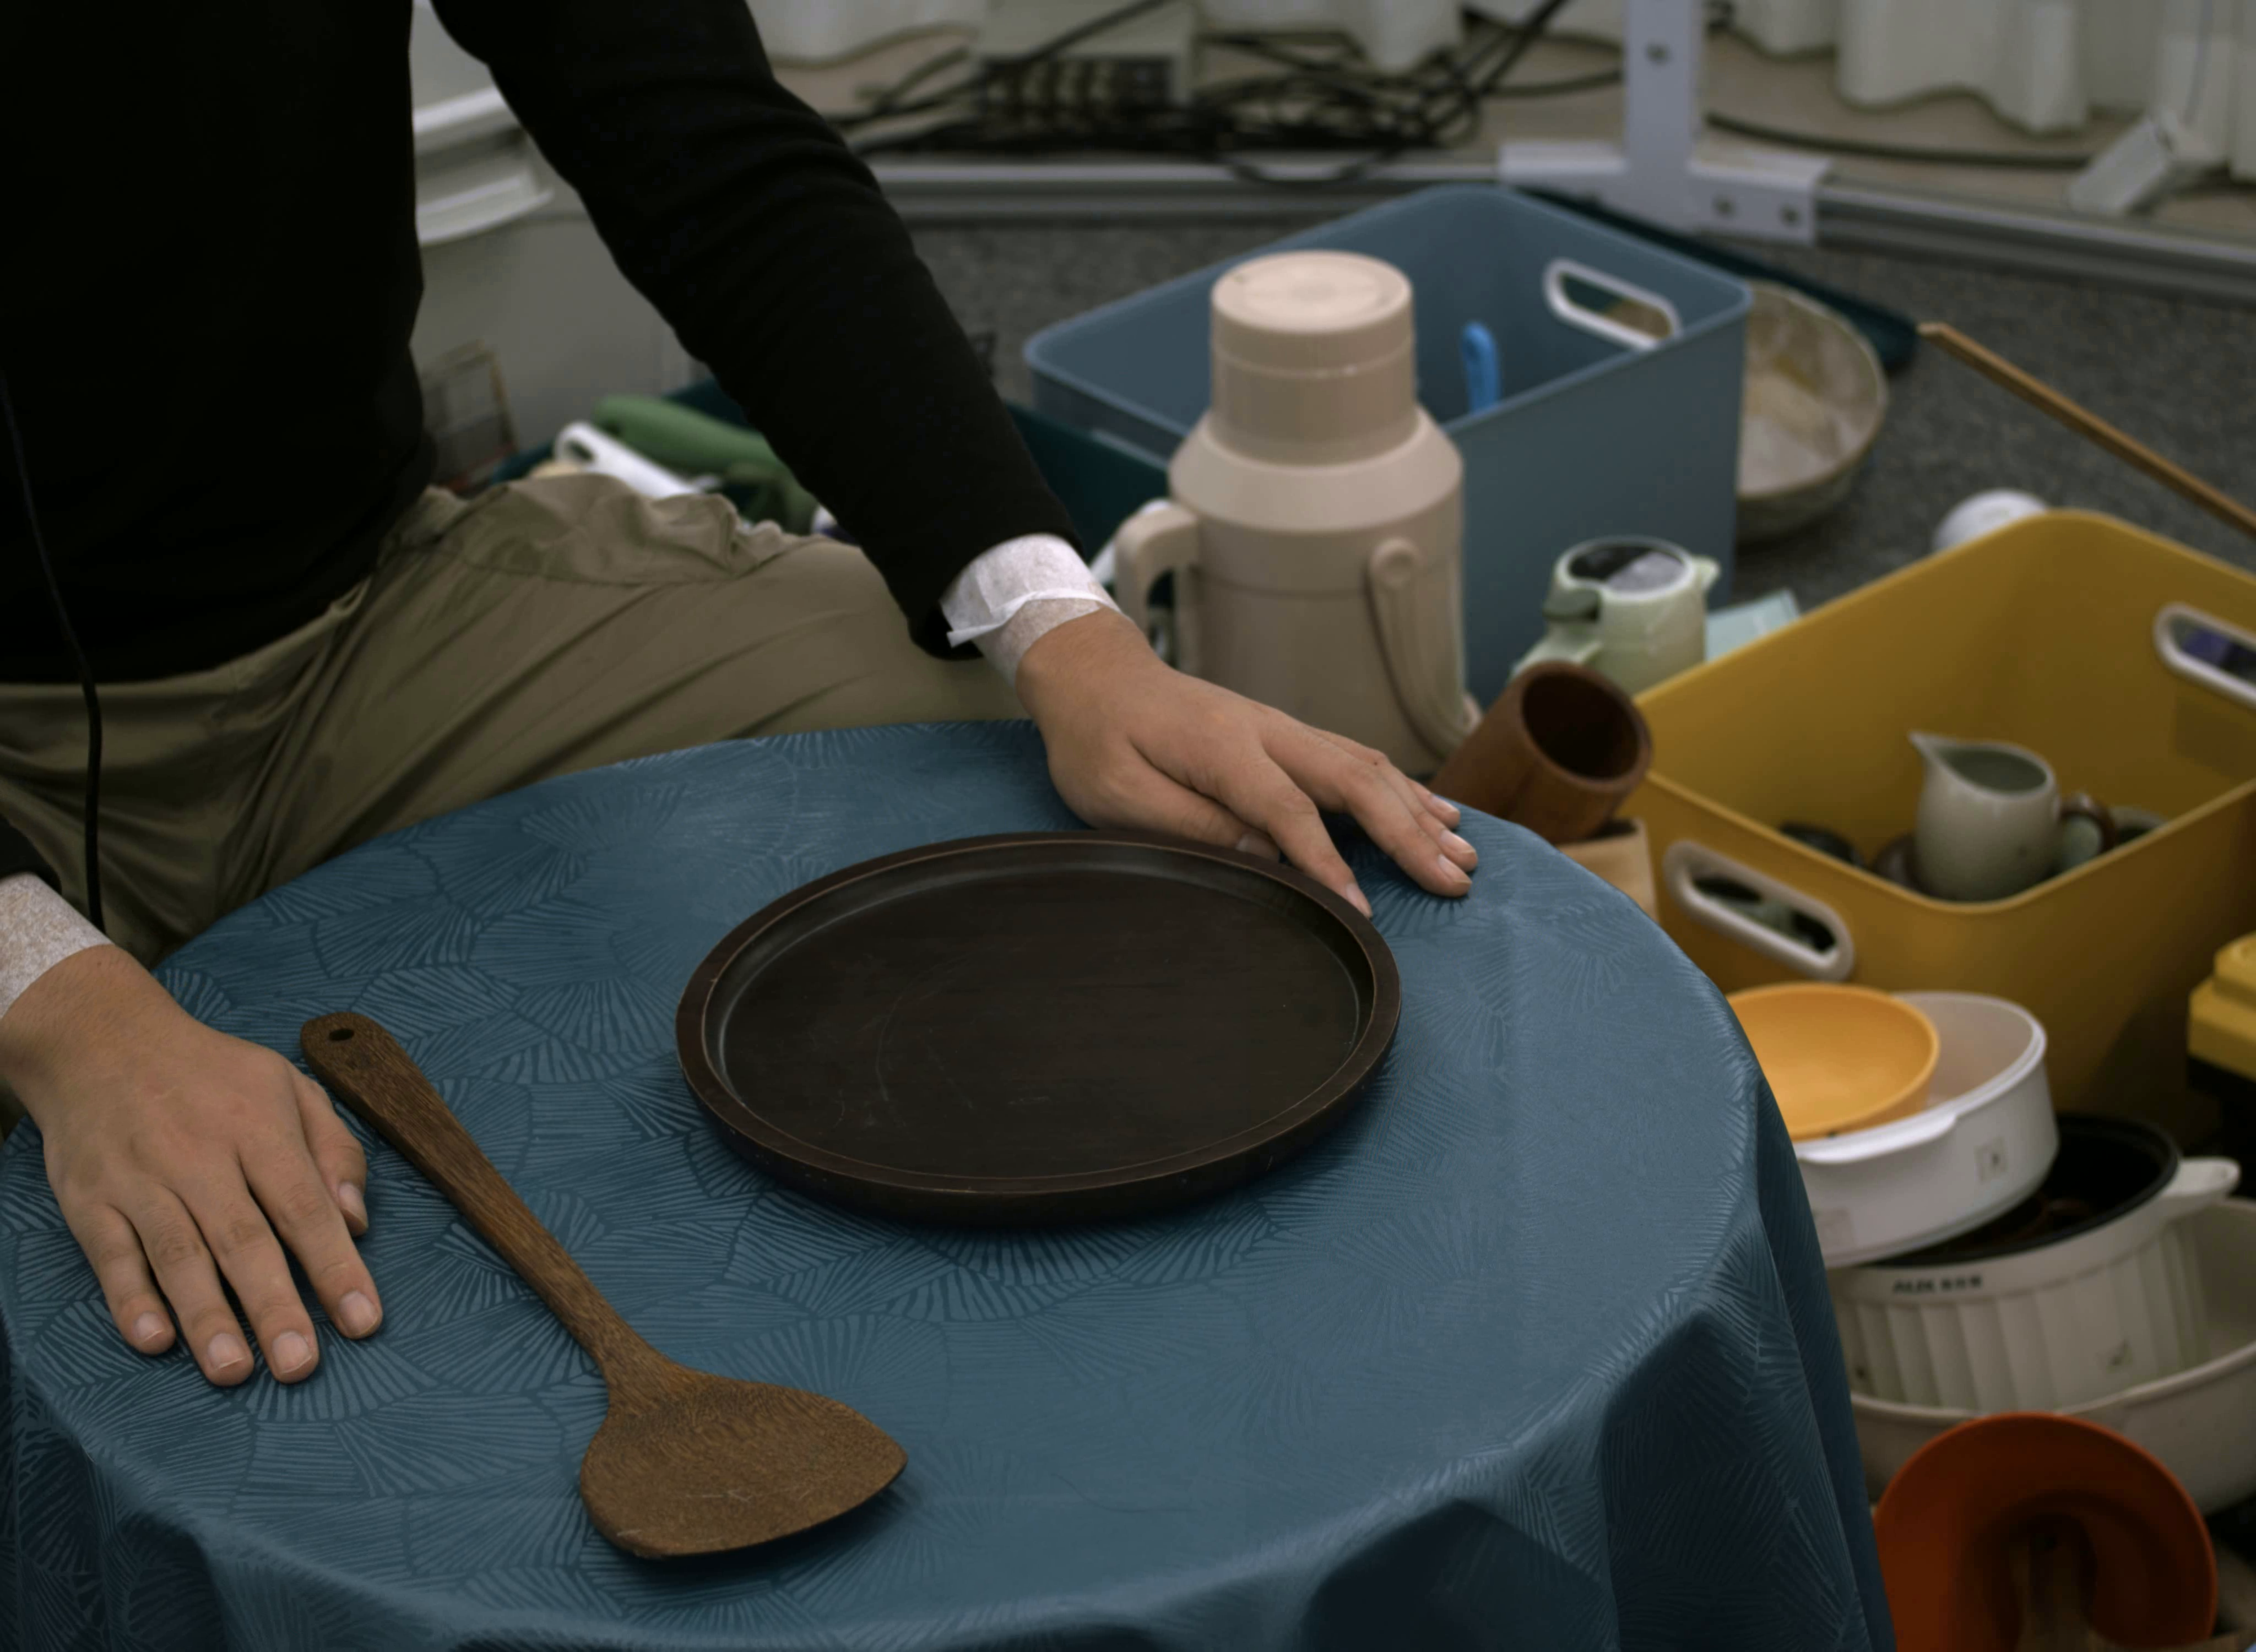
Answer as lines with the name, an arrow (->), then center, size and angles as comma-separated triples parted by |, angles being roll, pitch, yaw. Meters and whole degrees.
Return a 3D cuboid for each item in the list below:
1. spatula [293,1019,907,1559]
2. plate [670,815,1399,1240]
spatula -> -0.193, 0.141, 1.827 | 0.096, 0.015, 0.387 | -16, 30, -25
plate -> -0.032, 0.070, 1.941 | 0.253, 0.029, 0.259 | -2, 29, 2
